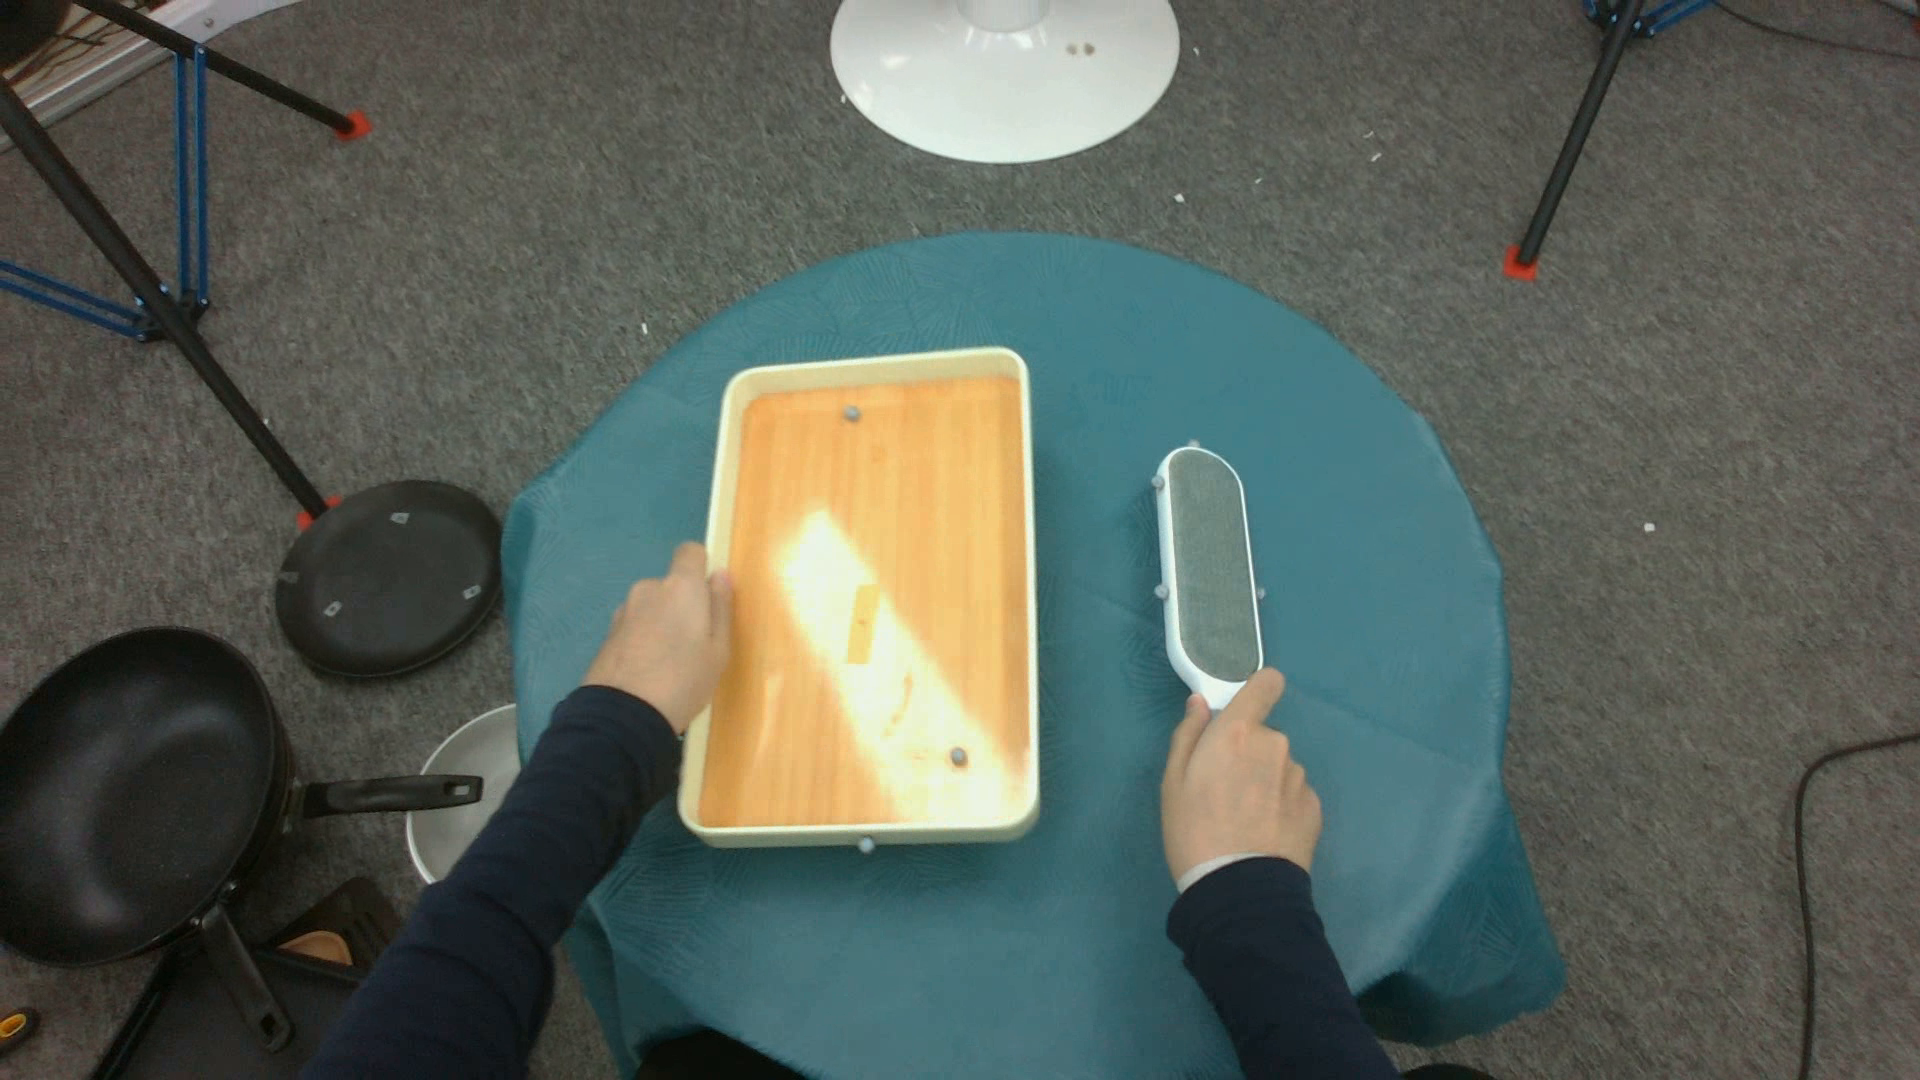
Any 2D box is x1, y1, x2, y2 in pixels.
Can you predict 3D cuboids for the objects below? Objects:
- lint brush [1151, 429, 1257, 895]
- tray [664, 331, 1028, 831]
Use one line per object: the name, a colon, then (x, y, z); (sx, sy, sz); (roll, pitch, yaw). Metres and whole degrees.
lint brush: (0.140, 0.054, 0.780); (0.060, 0.021, 0.310); (18, 49, -18)
tray: (-0.057, 0.014, 0.781); (0.191, 0.027, 0.301); (-3, 60, 8)
